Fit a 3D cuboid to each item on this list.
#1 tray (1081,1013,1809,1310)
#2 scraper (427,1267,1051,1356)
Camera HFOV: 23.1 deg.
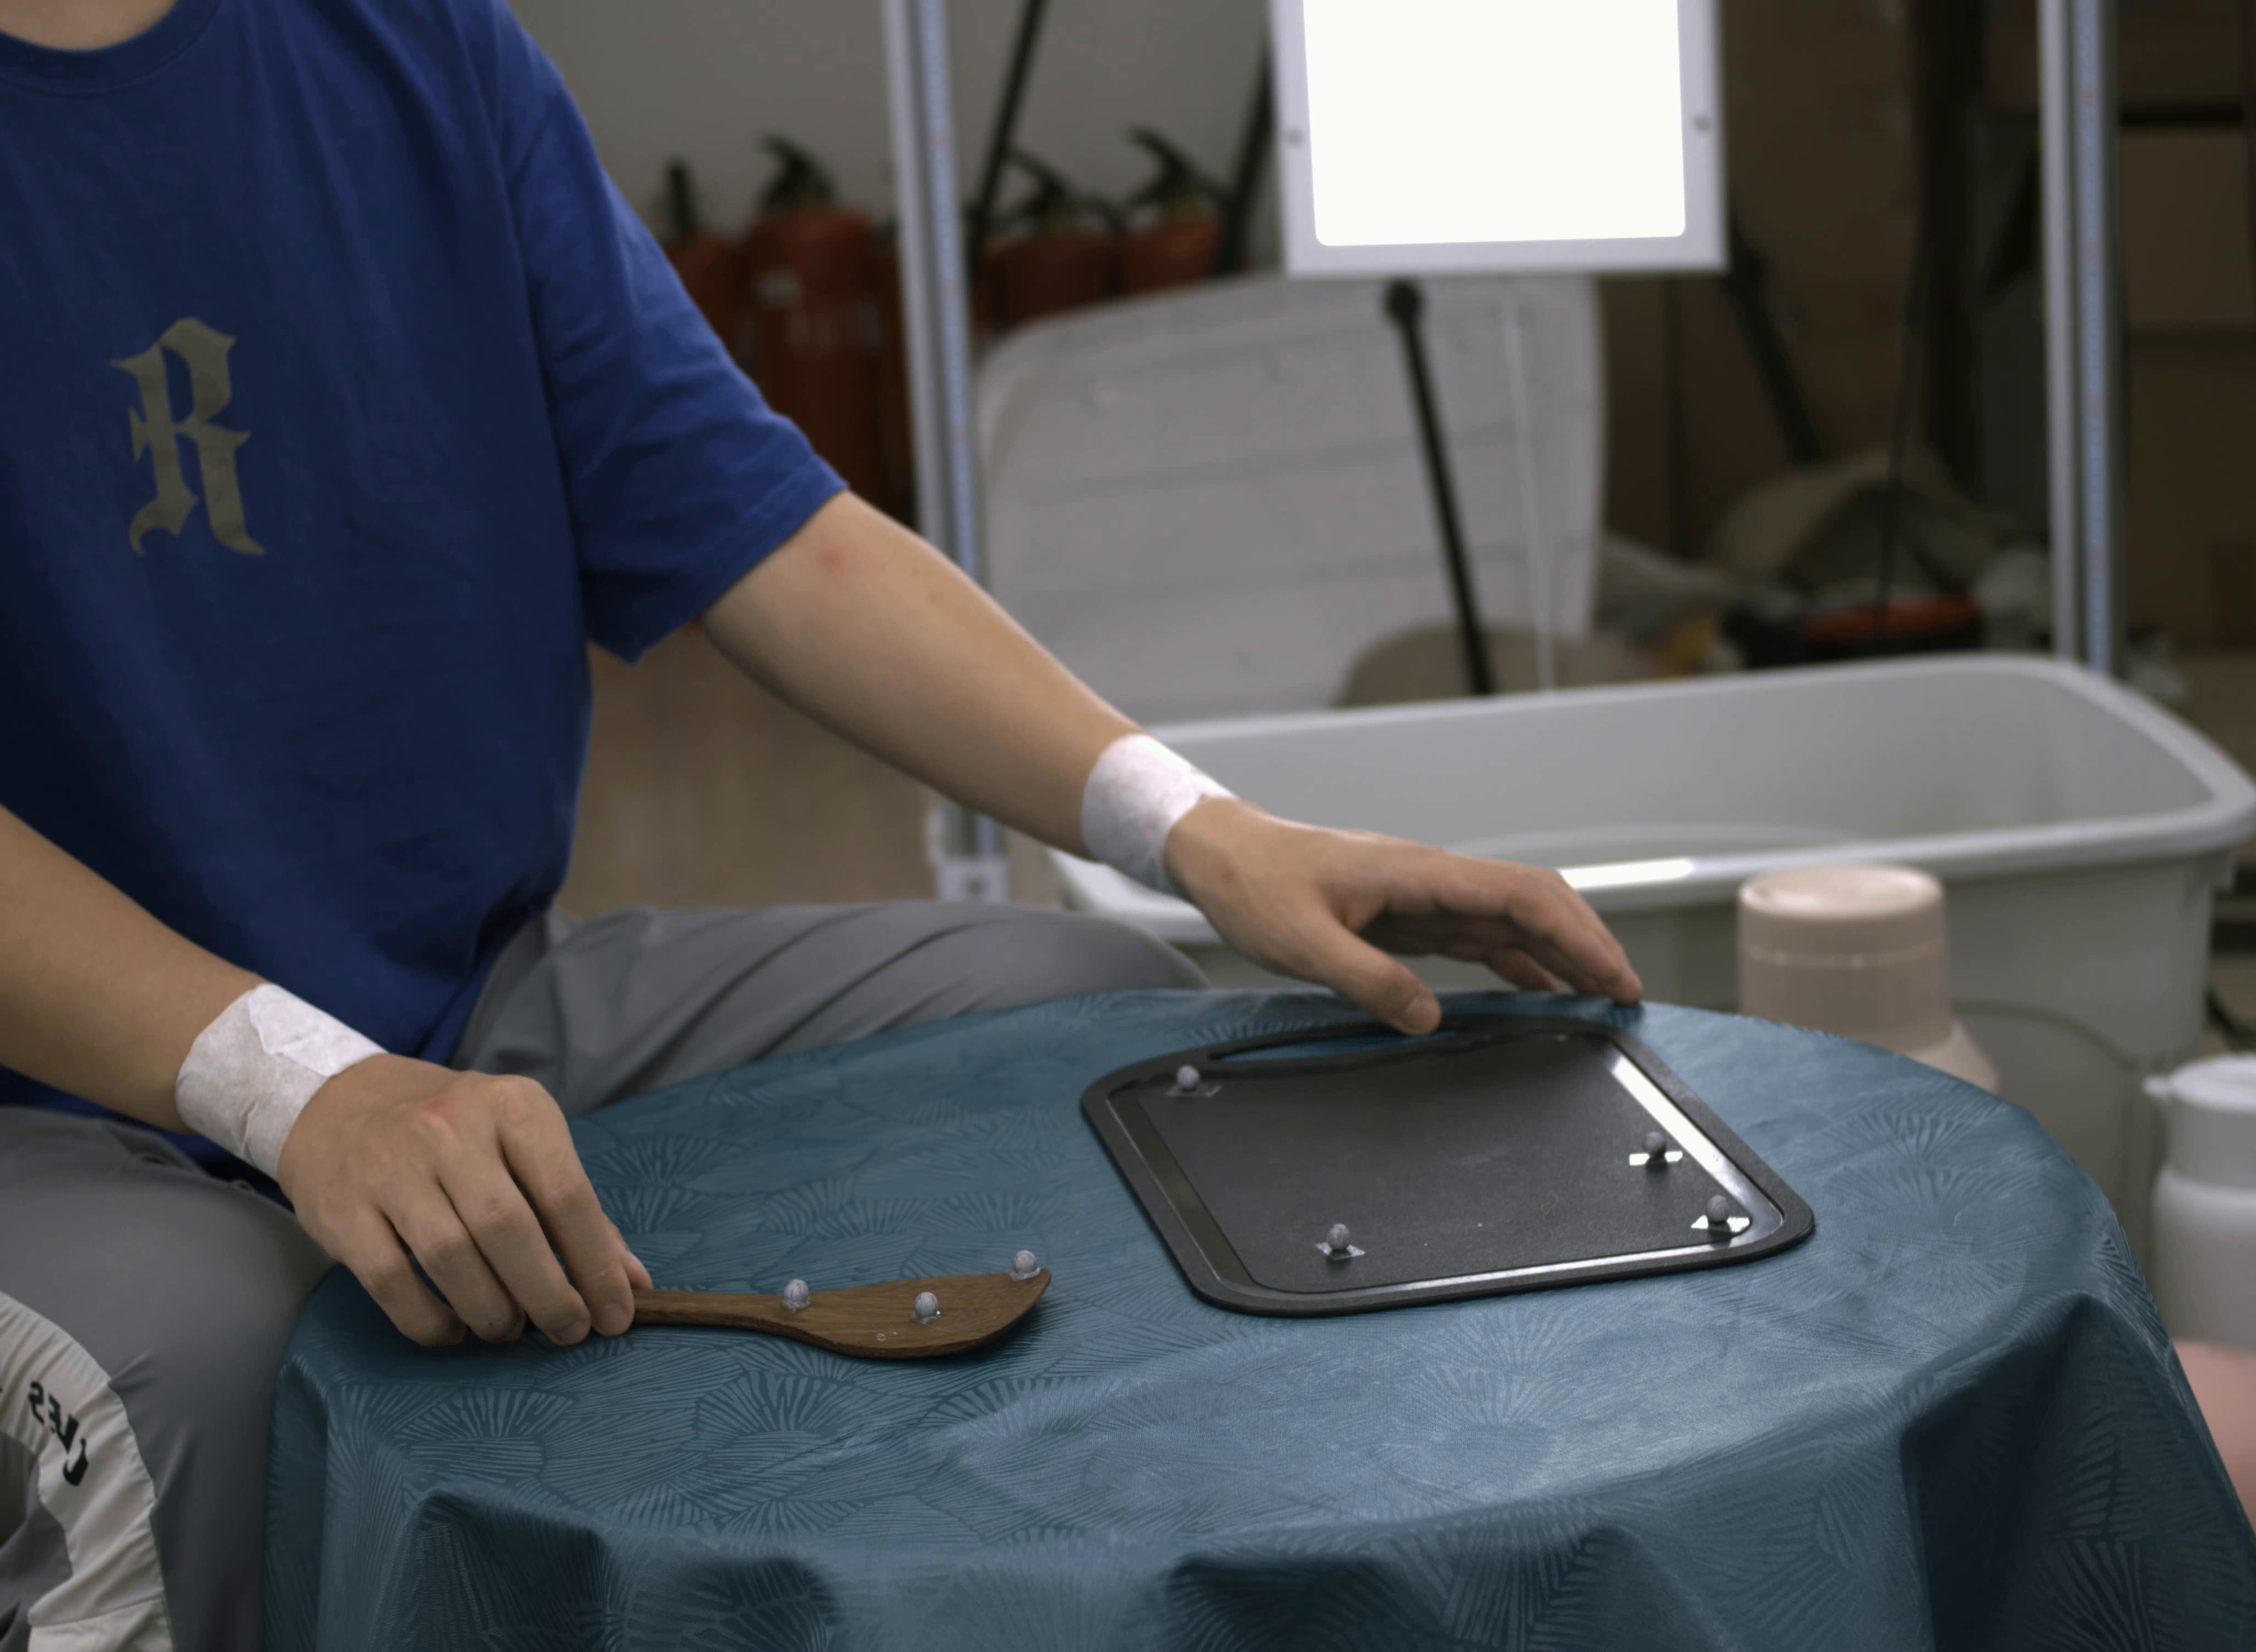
[{"bbox_3d":[0.101,0.110,1.911,0.209,0.010,0.327,-7,14,-7],"label":"tray"},{"bbox_3d":[-0.130,0.157,1.800,0.214,0.011,0.074,-1,13,20],"label":"scraper"}]
